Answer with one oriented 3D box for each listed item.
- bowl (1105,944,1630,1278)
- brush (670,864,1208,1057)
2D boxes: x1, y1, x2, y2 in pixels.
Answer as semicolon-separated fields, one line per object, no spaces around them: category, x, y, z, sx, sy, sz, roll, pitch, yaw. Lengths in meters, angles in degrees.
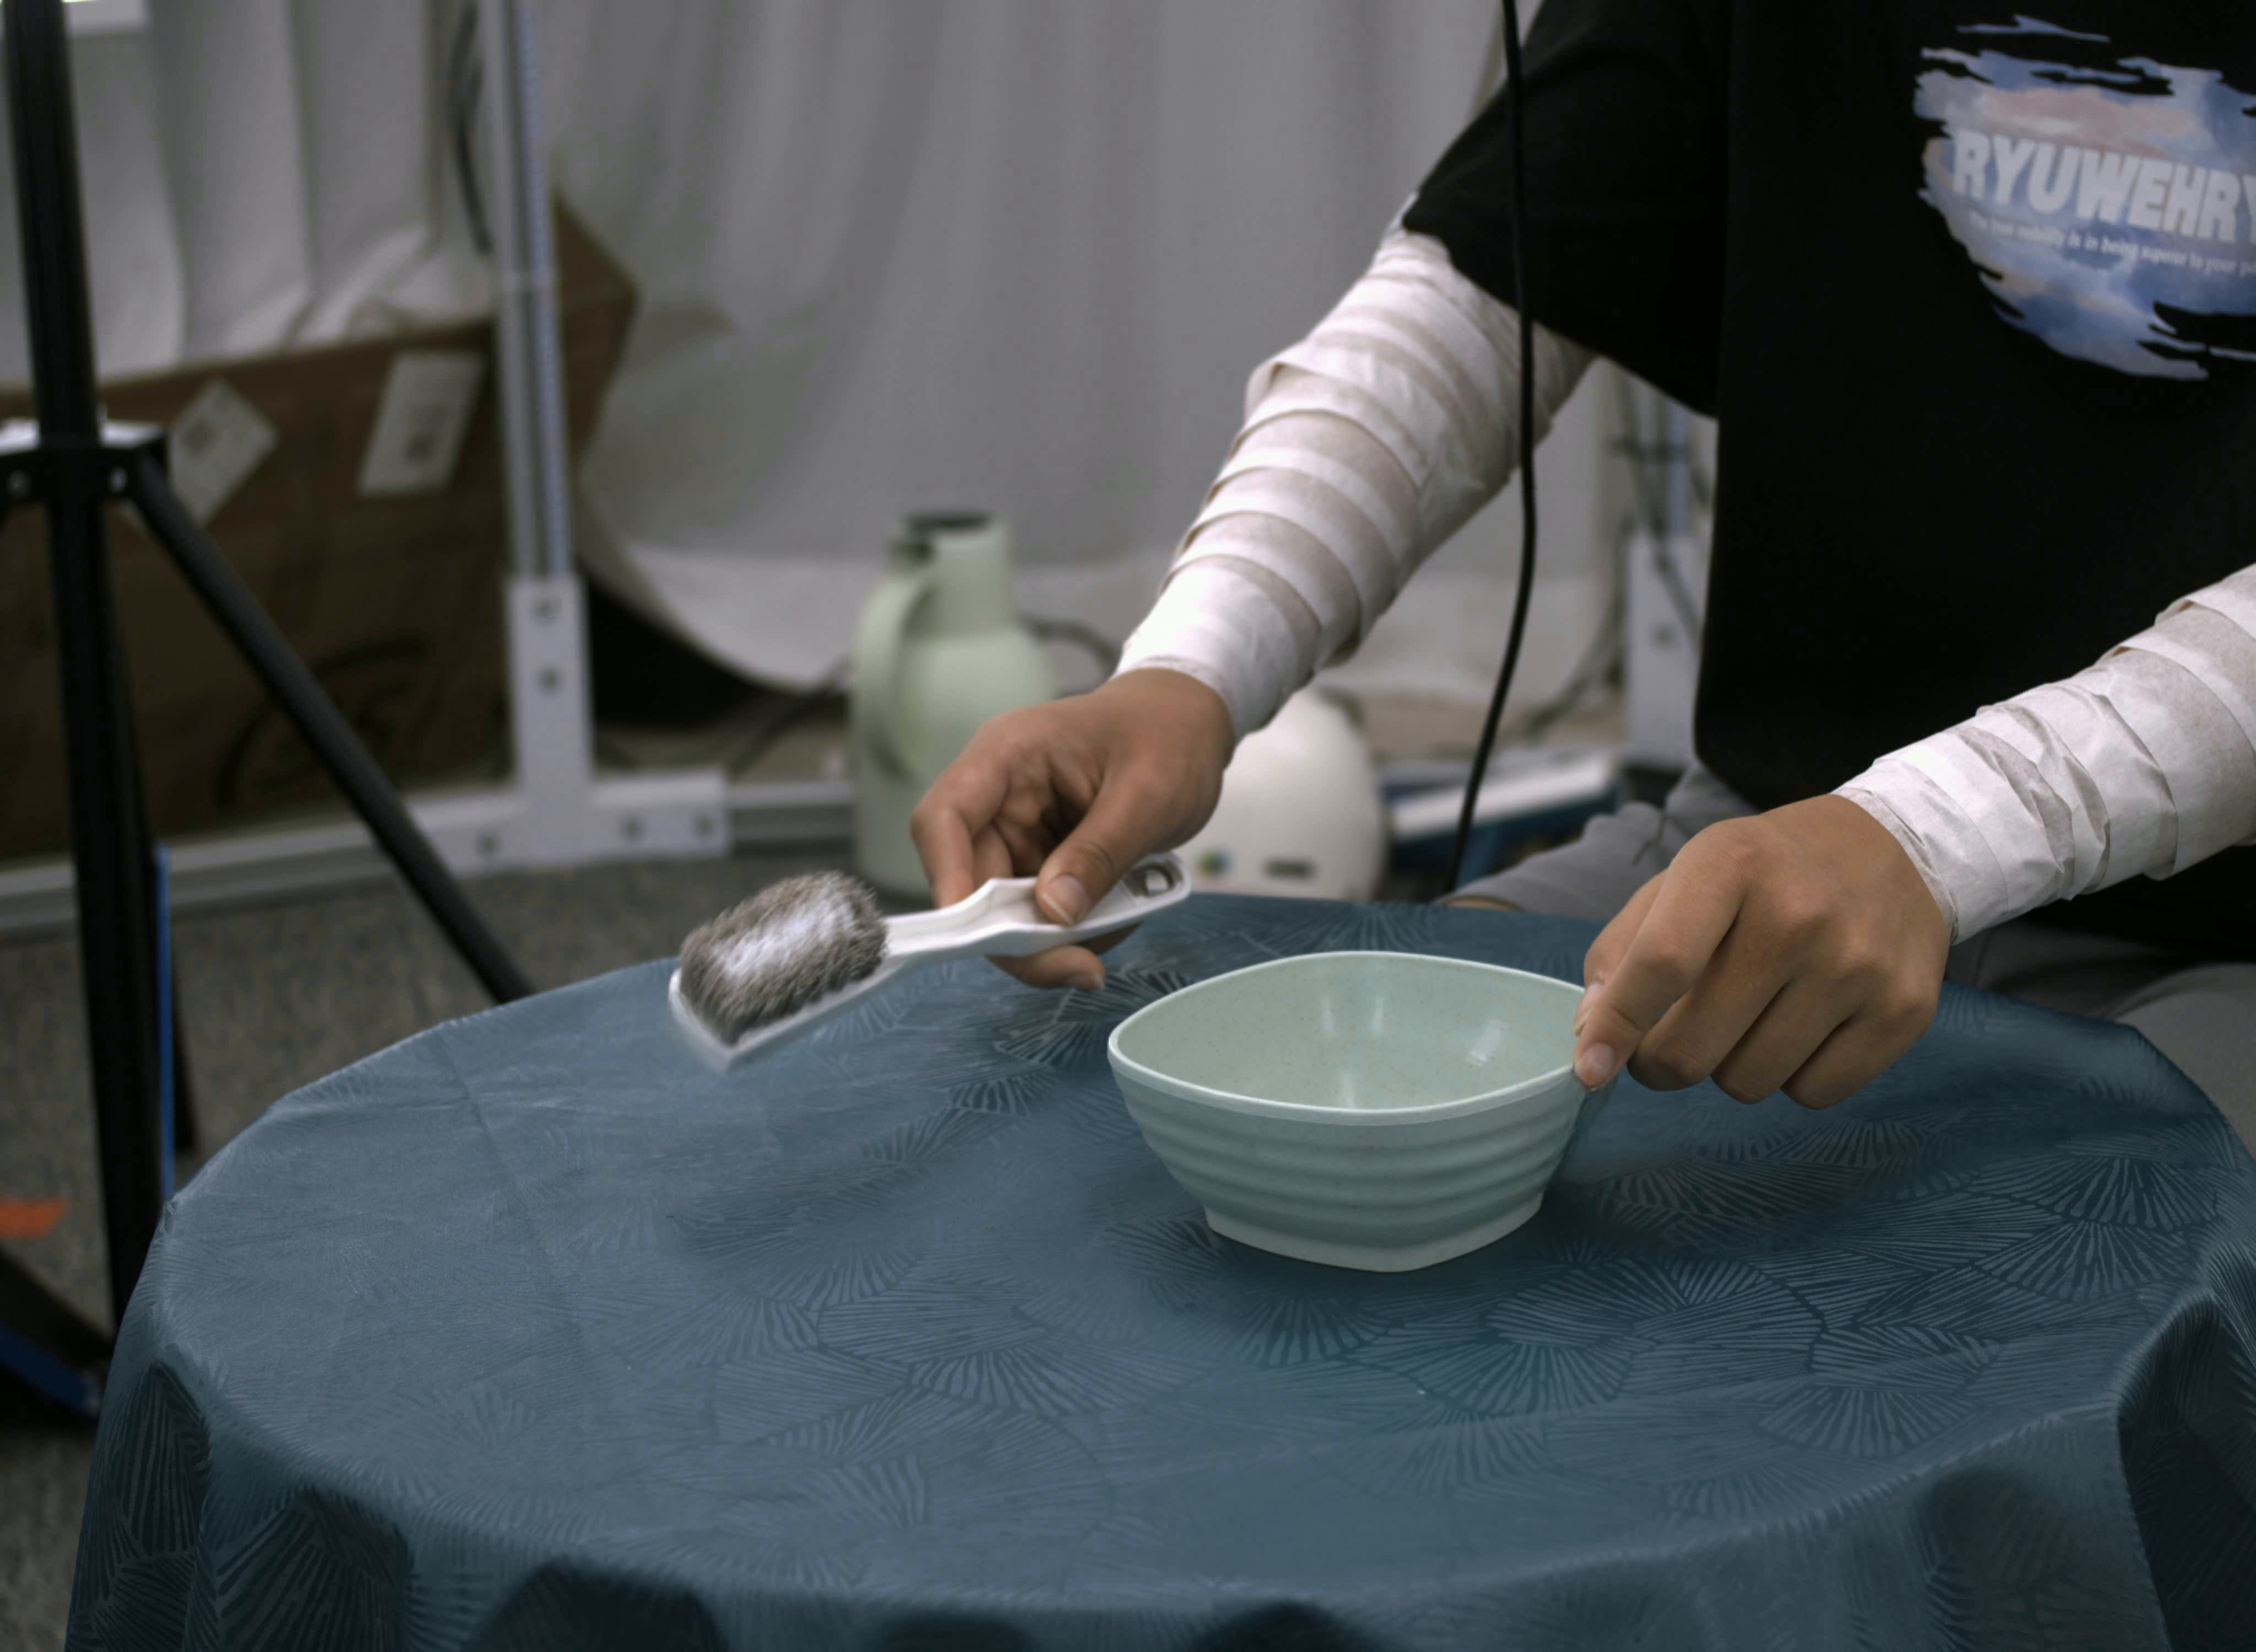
bowl;0.069;0.085;1.525;0.150;0.058;0.152;-2;17;-1
brush;-0.046;0.027;1.638;0.238;0.050;0.035;-12;60;-46
